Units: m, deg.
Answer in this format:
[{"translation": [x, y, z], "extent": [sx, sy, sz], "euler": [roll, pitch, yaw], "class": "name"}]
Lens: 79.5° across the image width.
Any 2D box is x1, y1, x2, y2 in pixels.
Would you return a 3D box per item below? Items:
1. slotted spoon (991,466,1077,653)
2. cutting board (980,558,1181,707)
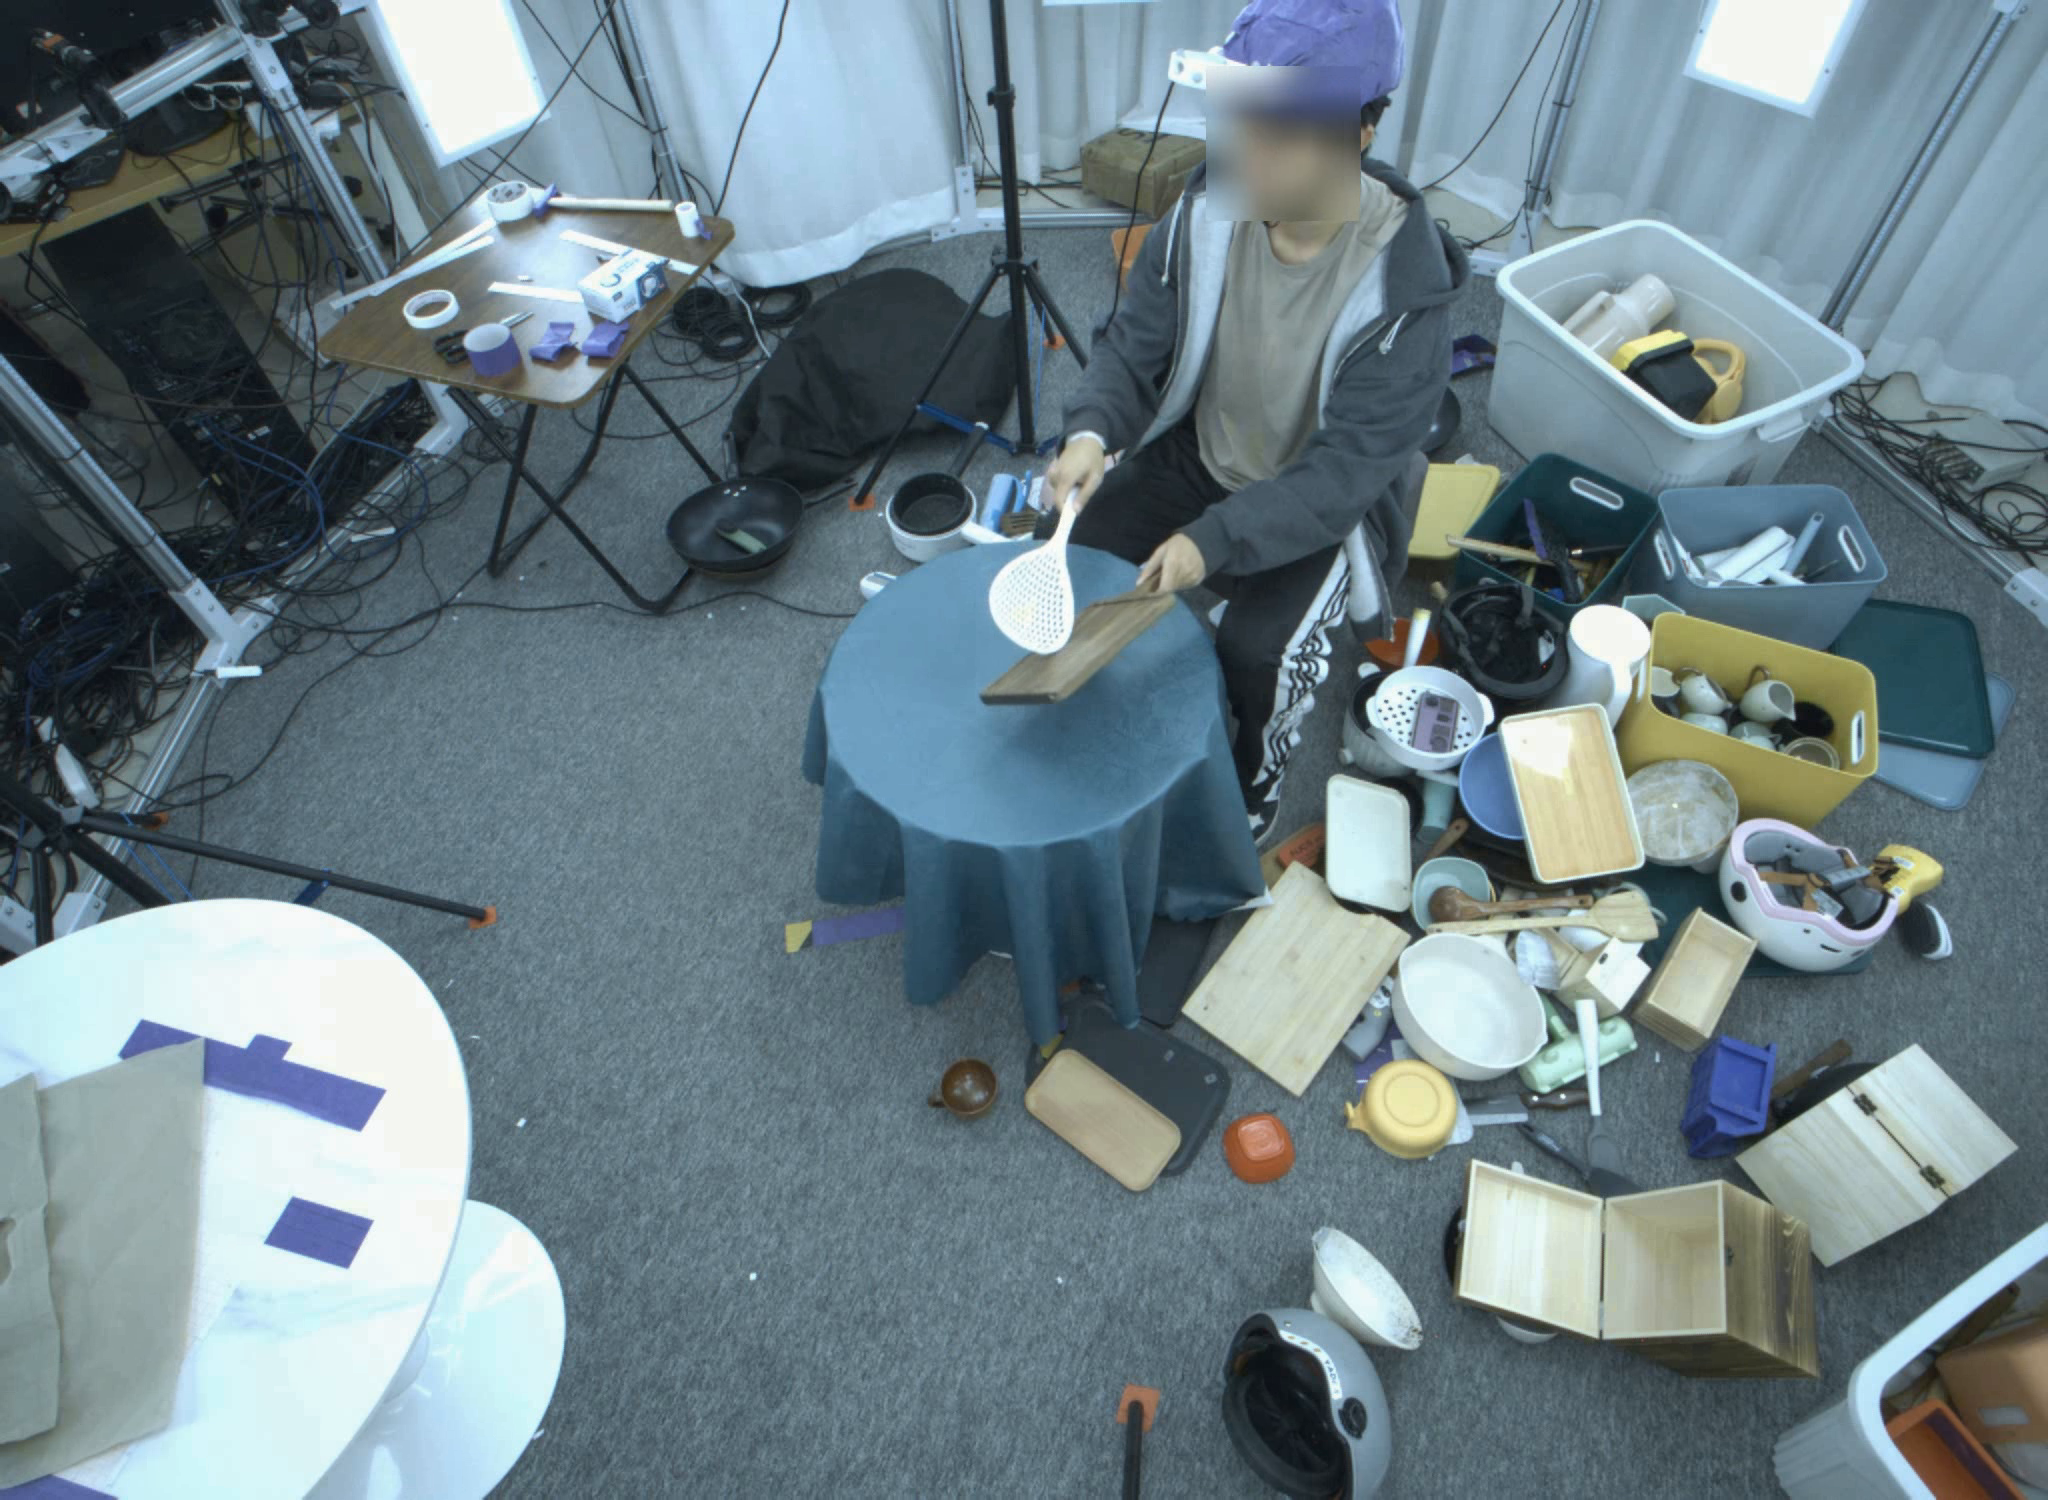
[{"translation": [0.038, -0.291, 1.803], "extent": [0.139, 0.049, 0.347], "euler": [29, 64, -21], "class": "slotted spoon"}, {"translation": [0.108, -0.171, 1.746], "extent": [0.354, 0.023, 0.197], "euler": [-42, 24, -26], "class": "cutting board"}]
